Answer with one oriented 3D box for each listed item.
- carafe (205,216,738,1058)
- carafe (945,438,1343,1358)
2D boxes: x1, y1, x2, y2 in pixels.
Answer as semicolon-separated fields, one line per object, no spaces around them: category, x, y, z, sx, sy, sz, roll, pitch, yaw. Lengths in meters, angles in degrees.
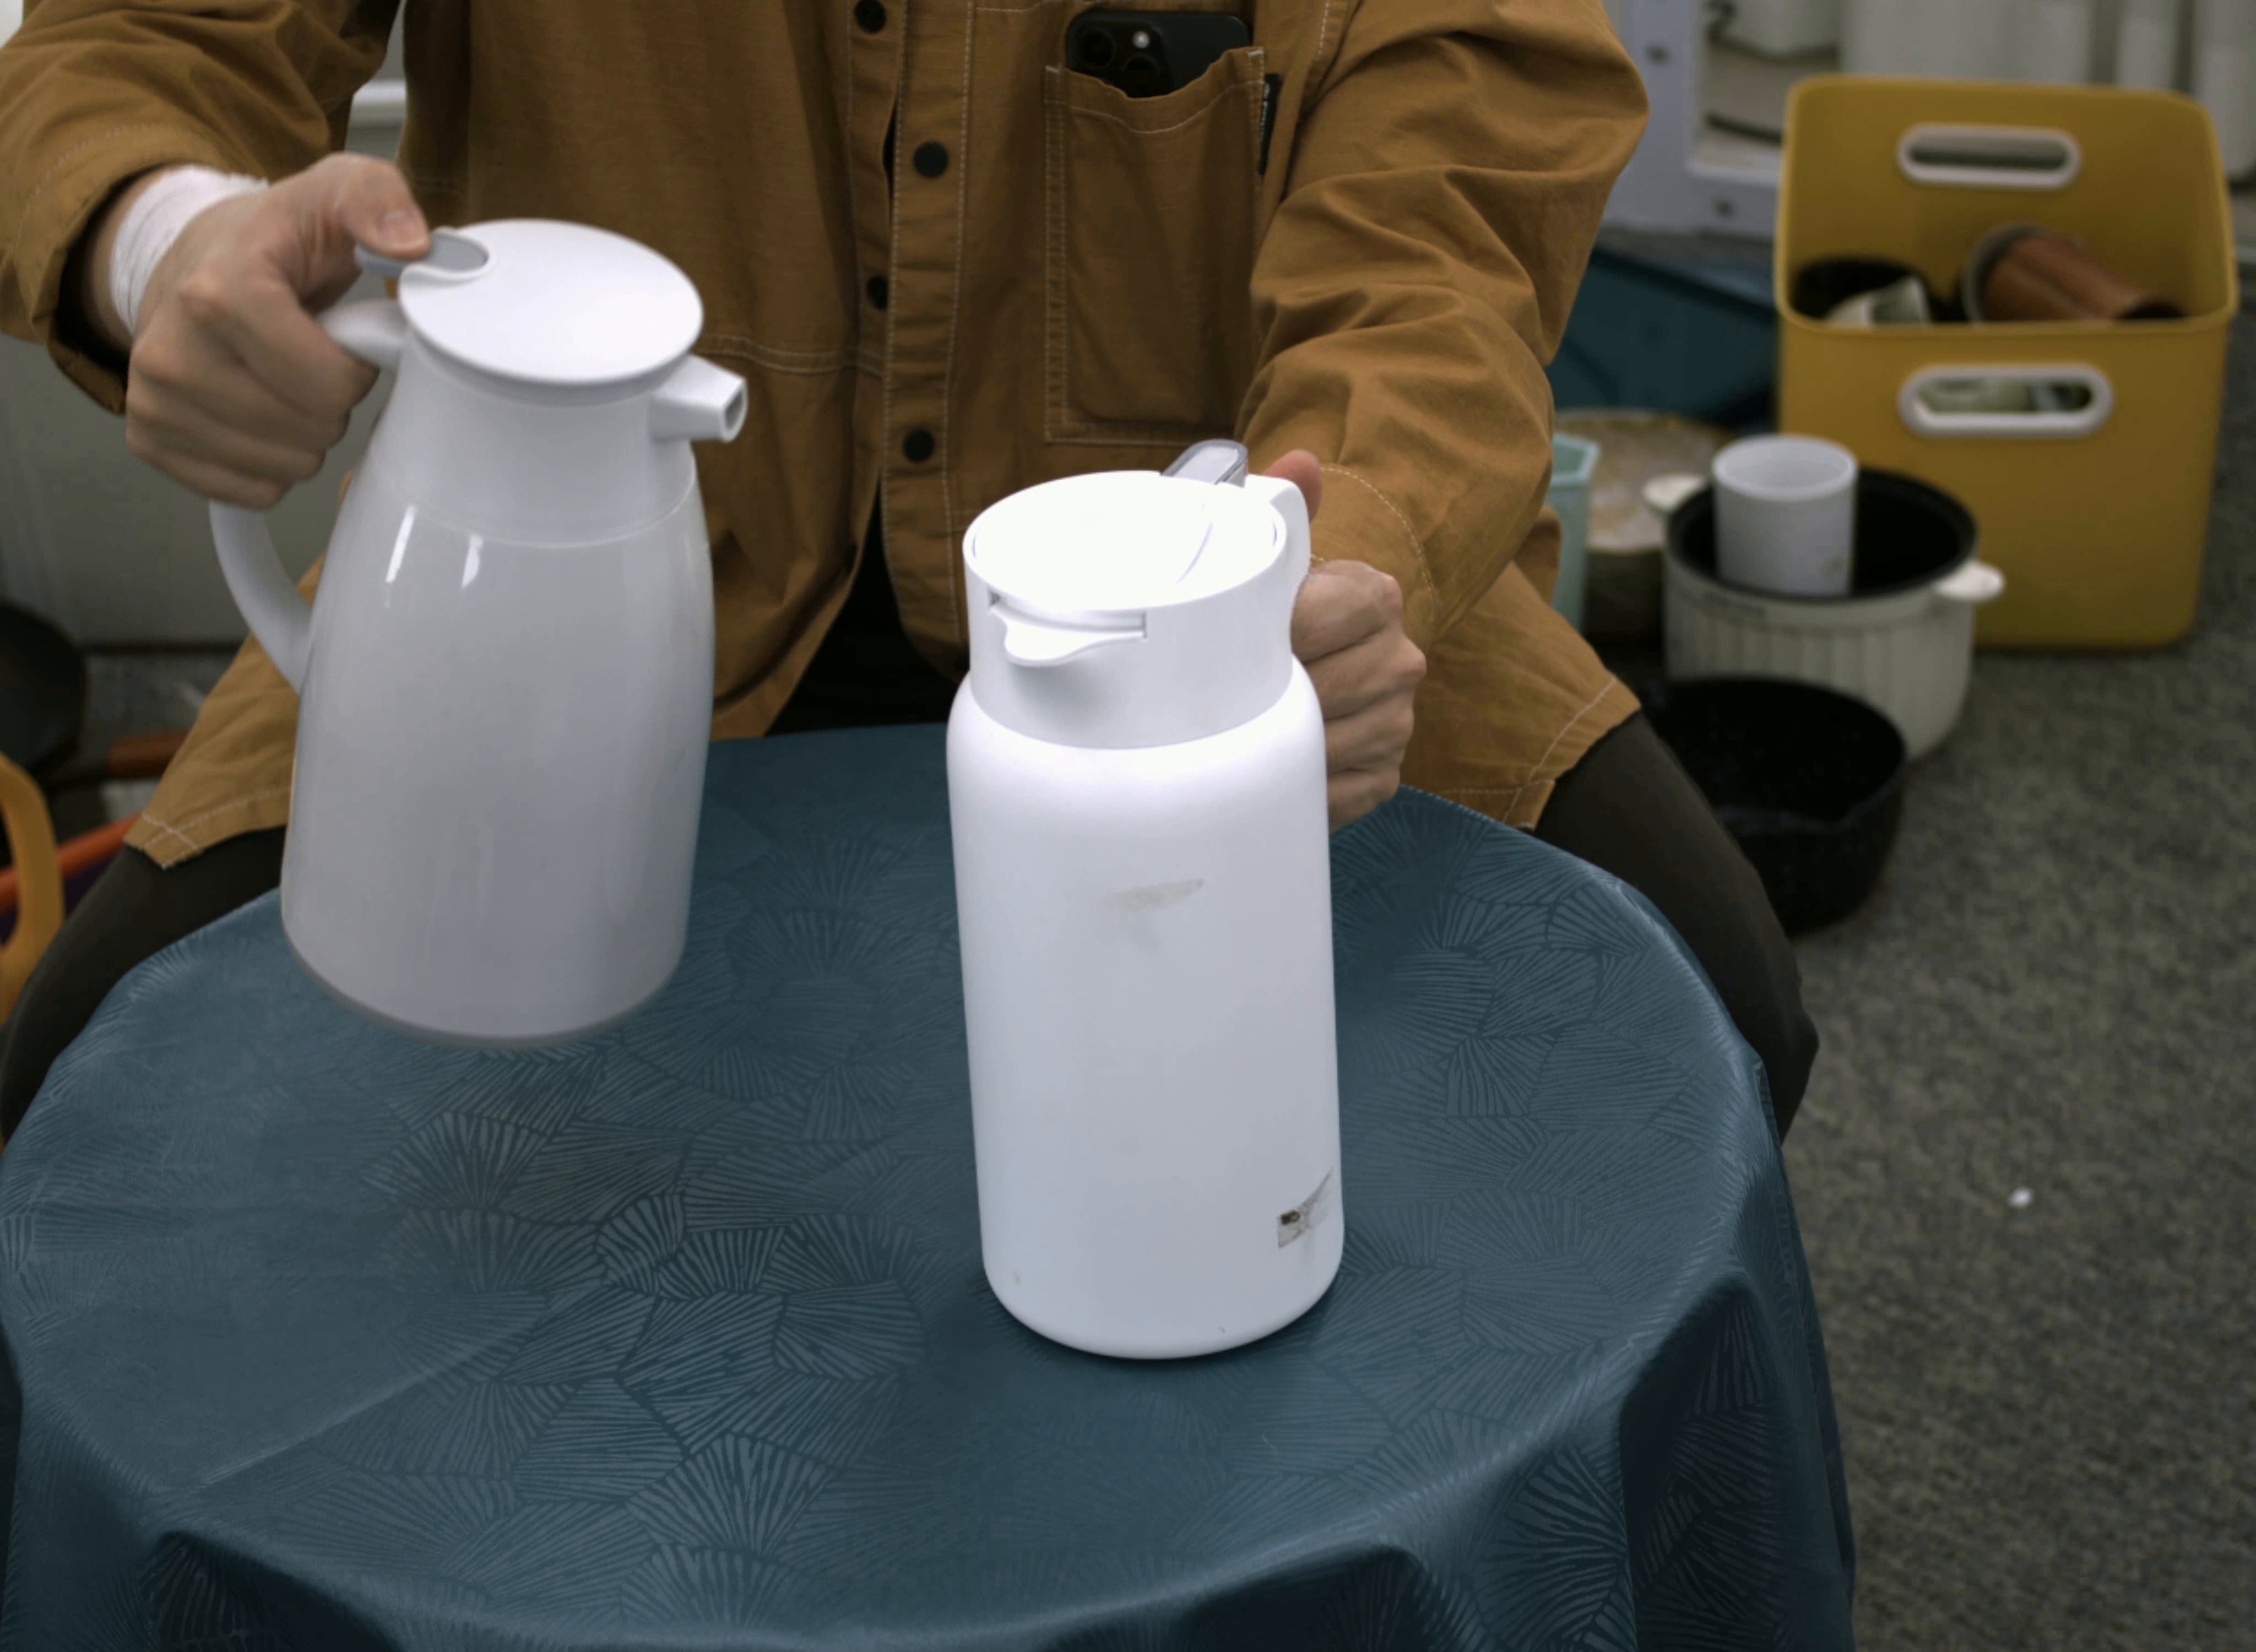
carafe;-0.210;-0.069;1.760;0.167;0.245;0.135;16;33;10
carafe;0.011;0.019;1.770;0.123;0.266;0.176;7;28;24
